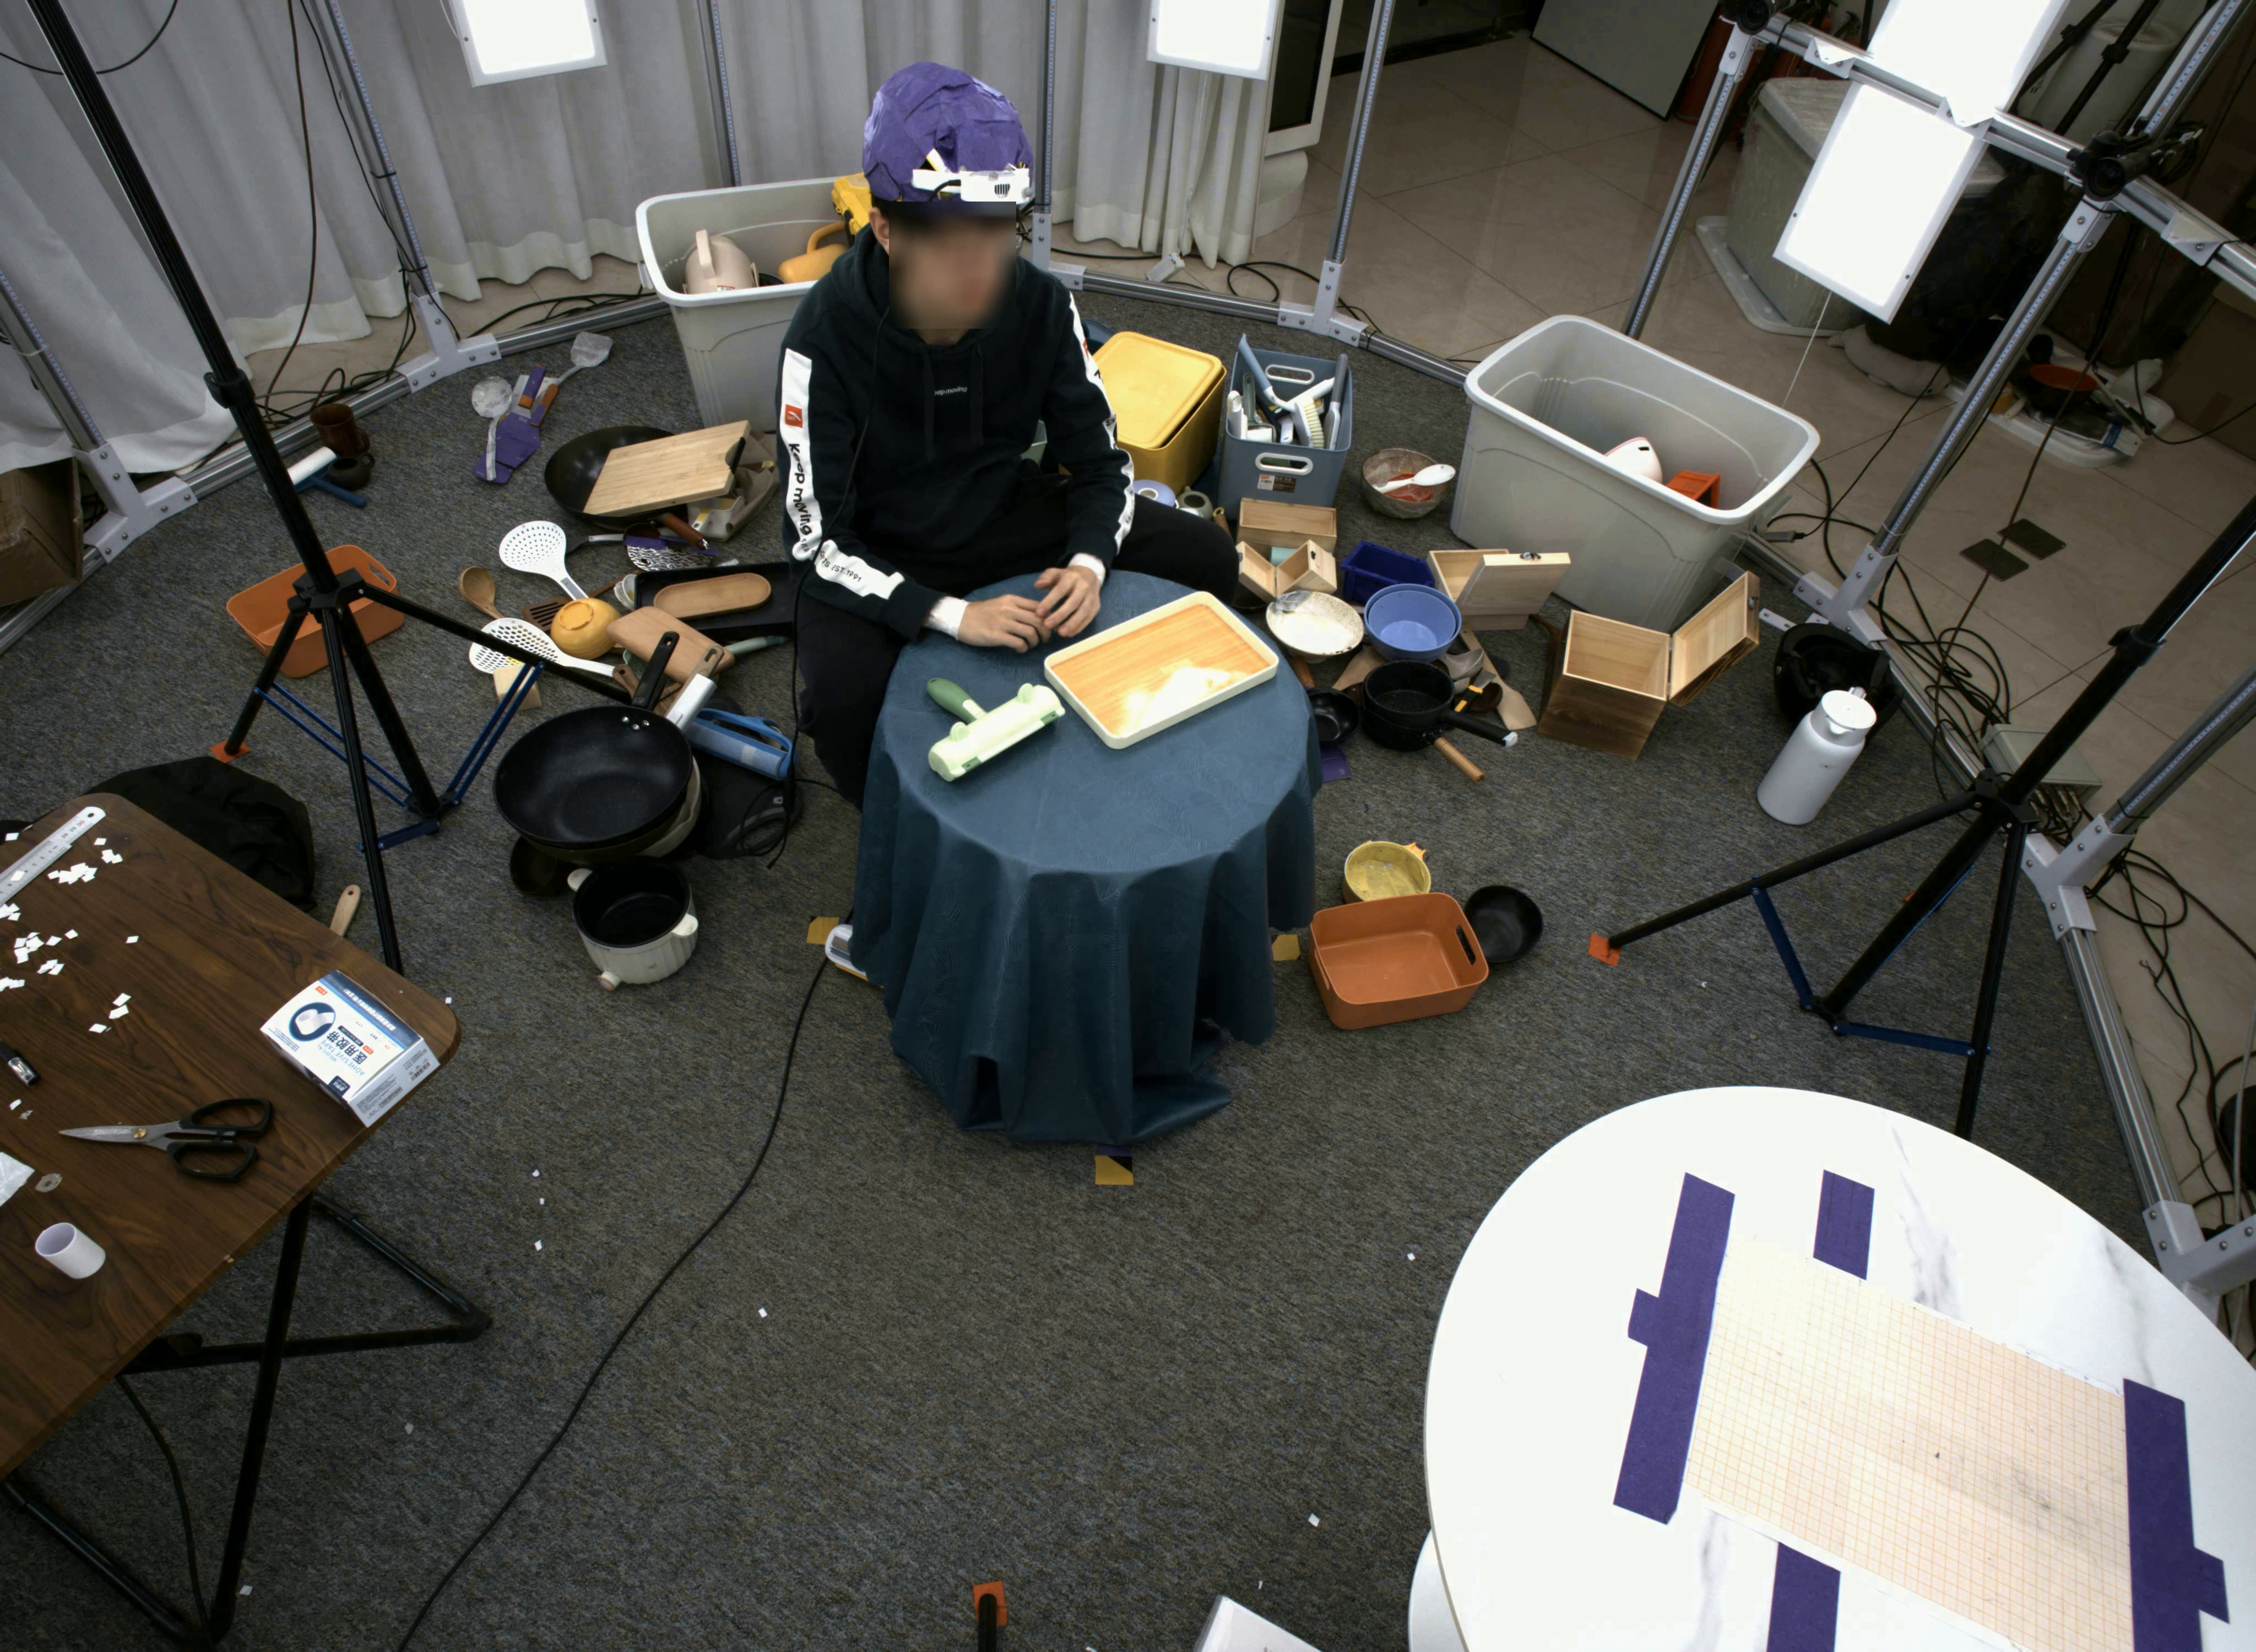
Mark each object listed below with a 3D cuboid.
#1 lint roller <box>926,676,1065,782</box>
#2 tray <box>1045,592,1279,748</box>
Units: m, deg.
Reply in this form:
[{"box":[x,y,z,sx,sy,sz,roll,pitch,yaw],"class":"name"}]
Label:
[{"box":[-0.214,-0.166,1.749,0.200,0.080,0.186,-33,63,-28],"class":"lint roller"},{"box":[0.049,-0.230,1.854,0.302,0.027,0.195,-26,55,-24],"class":"tray"}]
